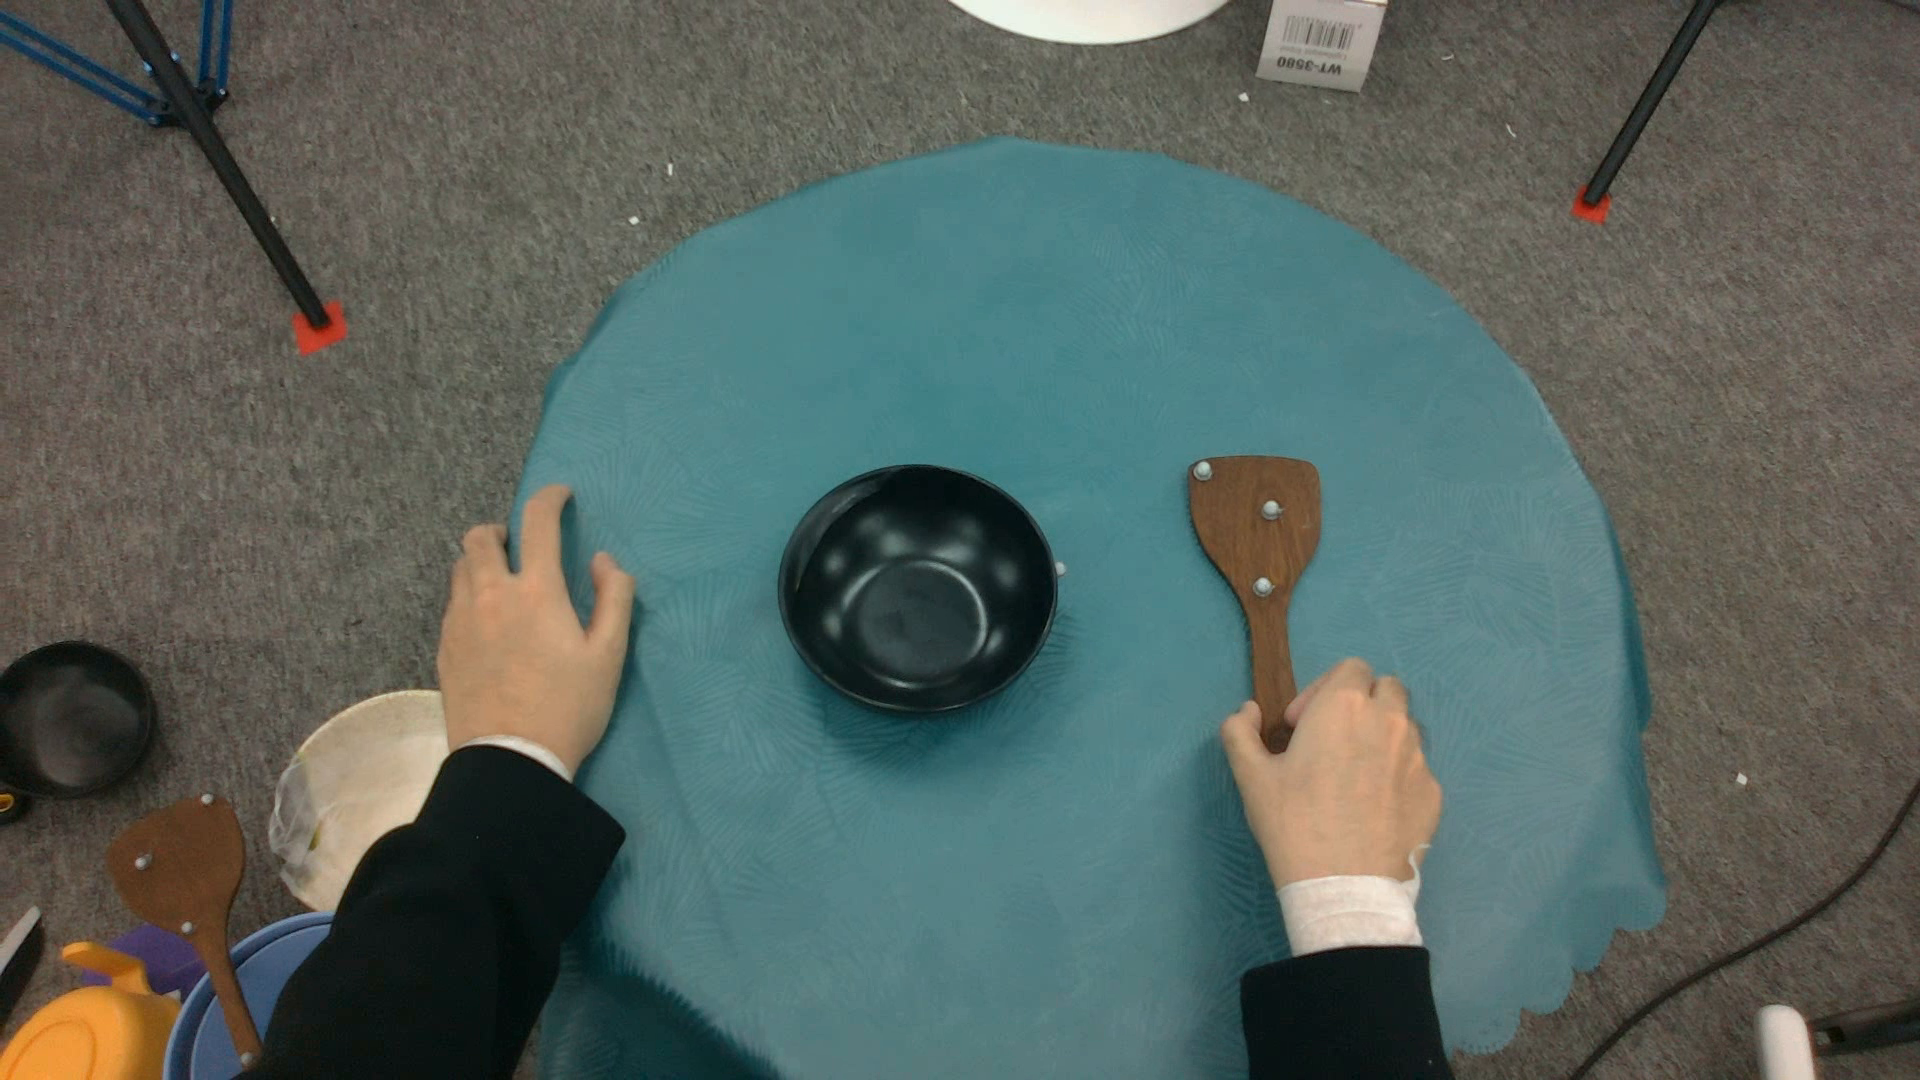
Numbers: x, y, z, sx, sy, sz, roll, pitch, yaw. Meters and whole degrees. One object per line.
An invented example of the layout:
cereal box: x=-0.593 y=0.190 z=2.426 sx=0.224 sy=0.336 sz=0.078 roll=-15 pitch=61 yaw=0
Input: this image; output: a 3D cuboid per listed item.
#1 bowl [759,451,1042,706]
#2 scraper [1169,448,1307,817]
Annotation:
bowl: x=-0.031 y=0.025 z=0.694 sx=0.140 sy=0.049 sz=0.140 roll=3 pitch=60 yaw=-5
scraper: x=0.151 y=0.042 z=0.717 sx=0.076 sy=0.011 sz=0.212 roll=2 pitch=60 yaw=-2
